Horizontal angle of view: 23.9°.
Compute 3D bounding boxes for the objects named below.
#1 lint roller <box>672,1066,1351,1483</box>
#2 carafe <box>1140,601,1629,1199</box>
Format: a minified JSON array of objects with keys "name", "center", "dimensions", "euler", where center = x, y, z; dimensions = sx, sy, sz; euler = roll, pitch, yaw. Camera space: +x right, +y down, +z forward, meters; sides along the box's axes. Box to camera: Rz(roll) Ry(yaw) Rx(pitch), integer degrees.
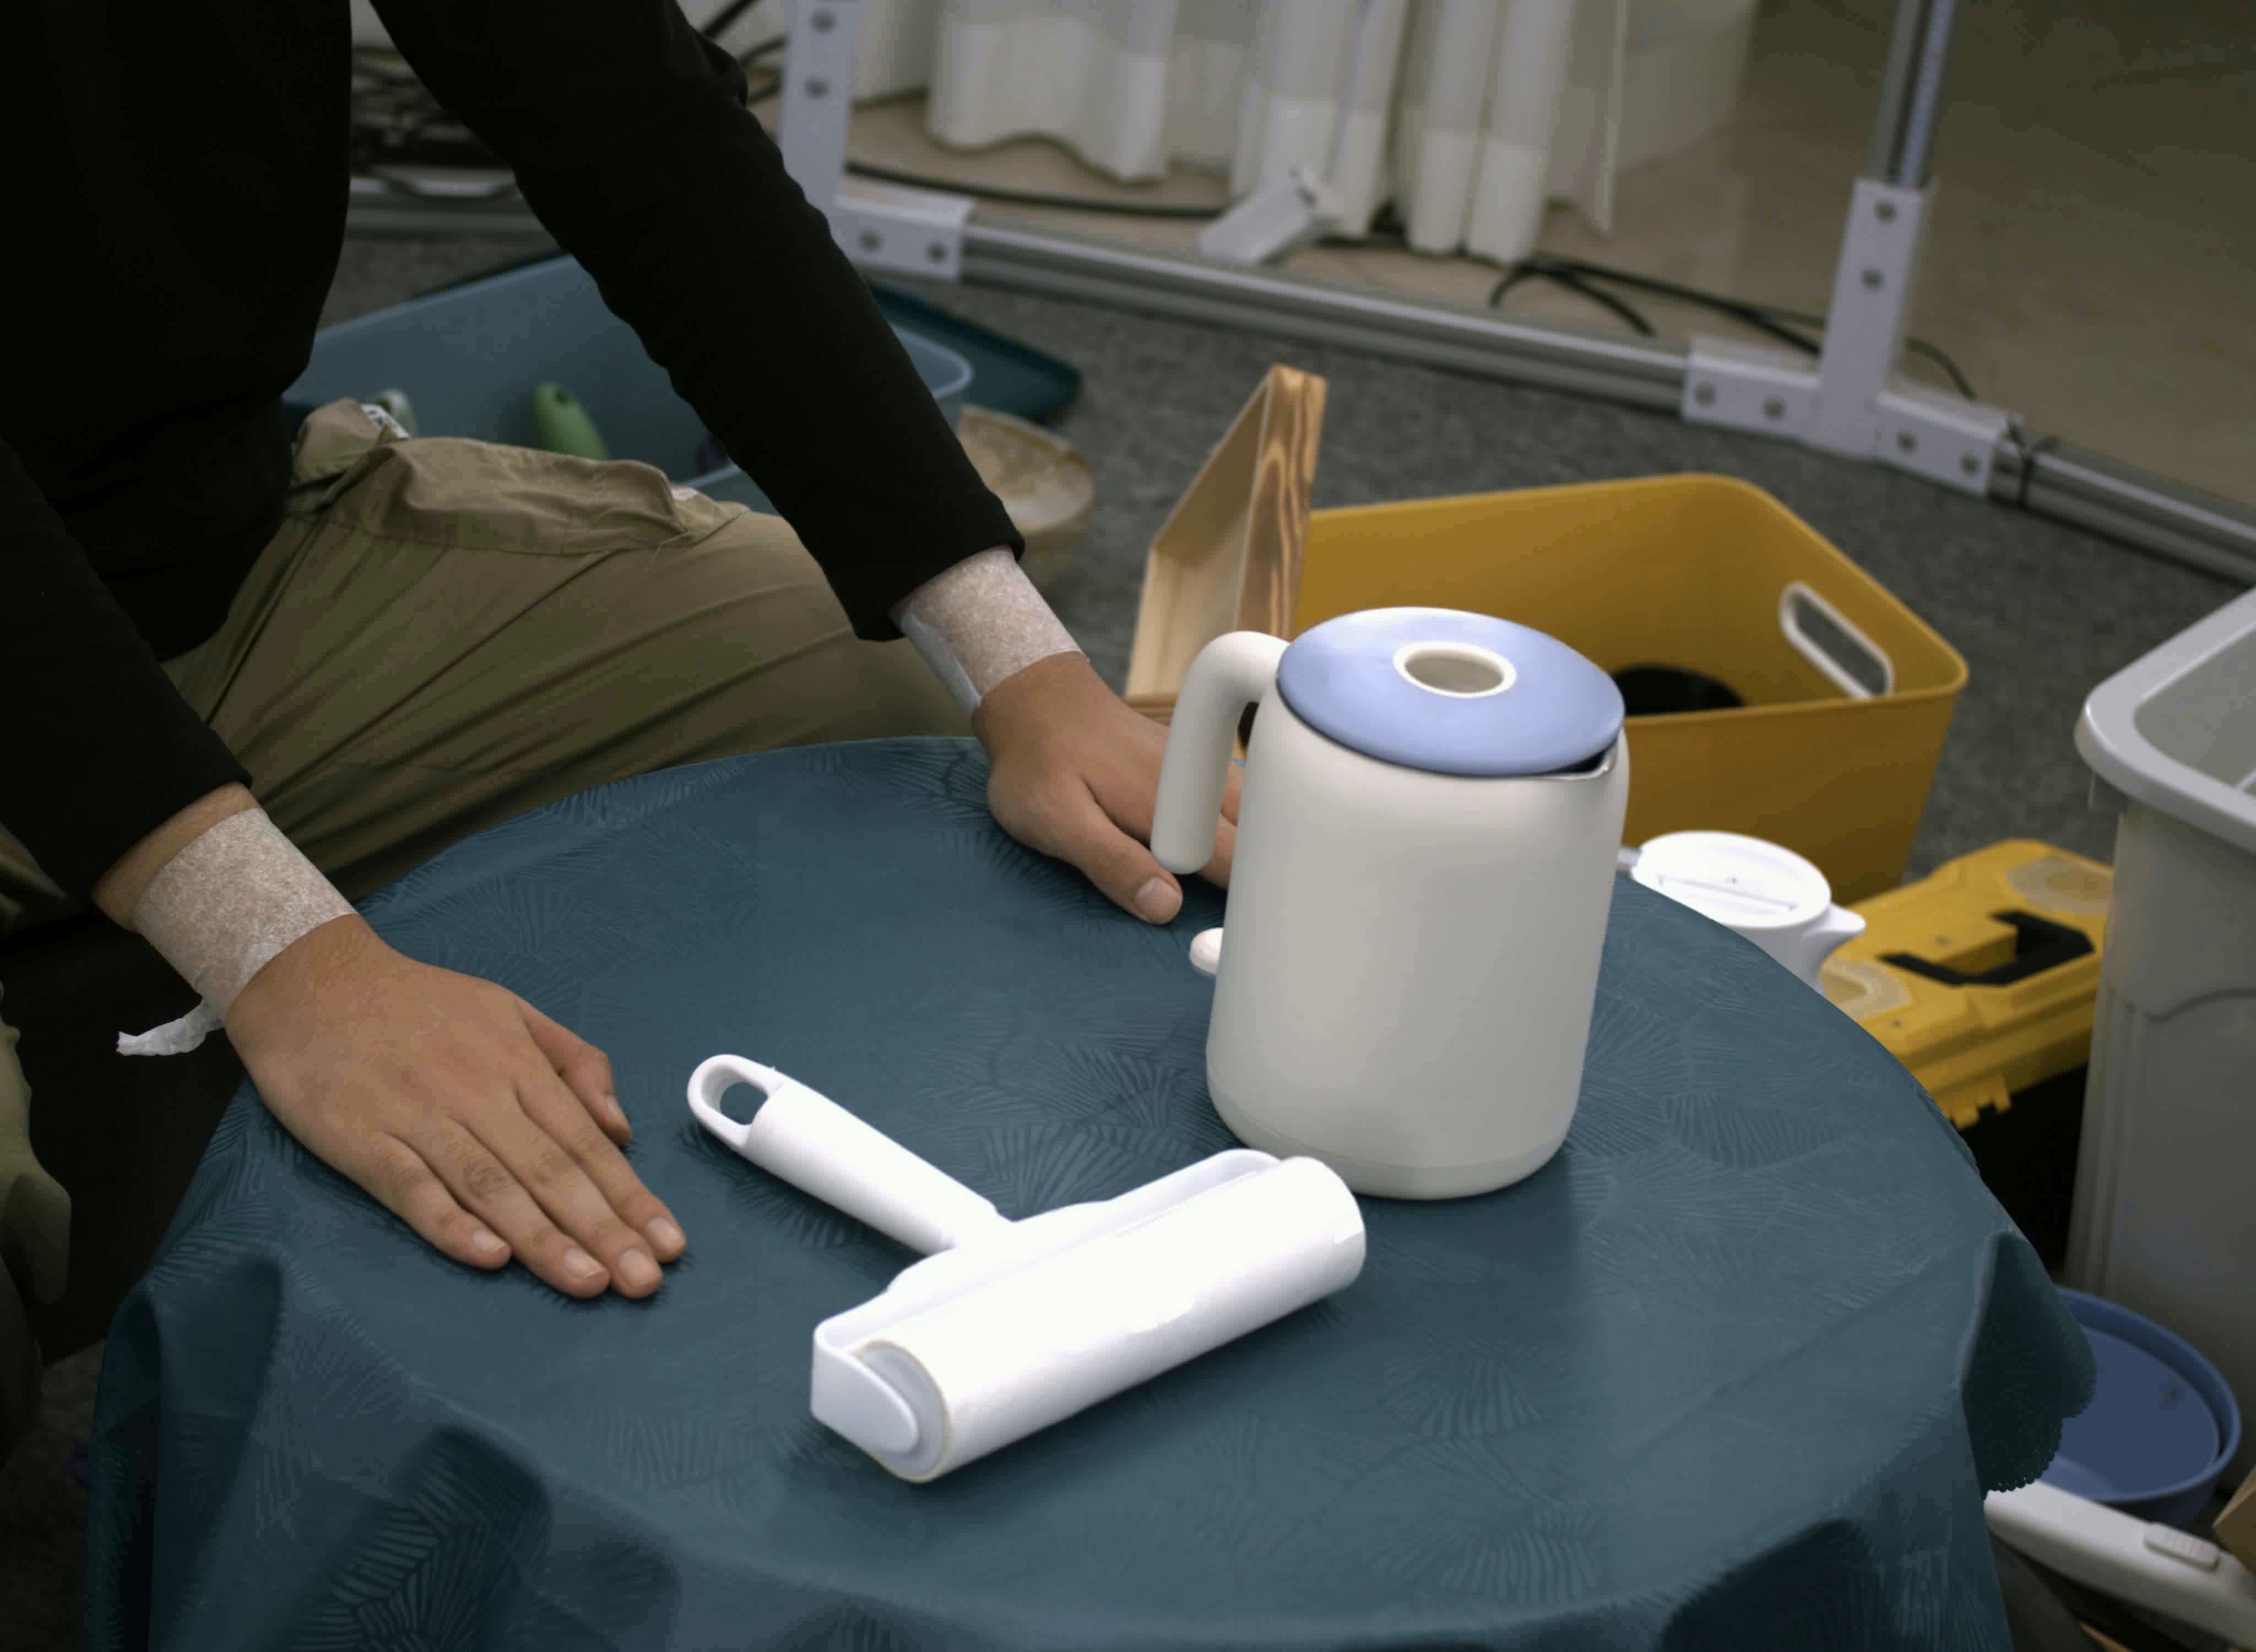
[{"name":"lint roller","center":[-0.070,0.122,1.743],"dimensions":[0.227,0.048,0.202],"euler":[27,35,37]},{"name":"carafe","center":[0.081,0.016,1.842],"dimensions":[0.192,0.182,0.131],"euler":[25,31,36]}]
